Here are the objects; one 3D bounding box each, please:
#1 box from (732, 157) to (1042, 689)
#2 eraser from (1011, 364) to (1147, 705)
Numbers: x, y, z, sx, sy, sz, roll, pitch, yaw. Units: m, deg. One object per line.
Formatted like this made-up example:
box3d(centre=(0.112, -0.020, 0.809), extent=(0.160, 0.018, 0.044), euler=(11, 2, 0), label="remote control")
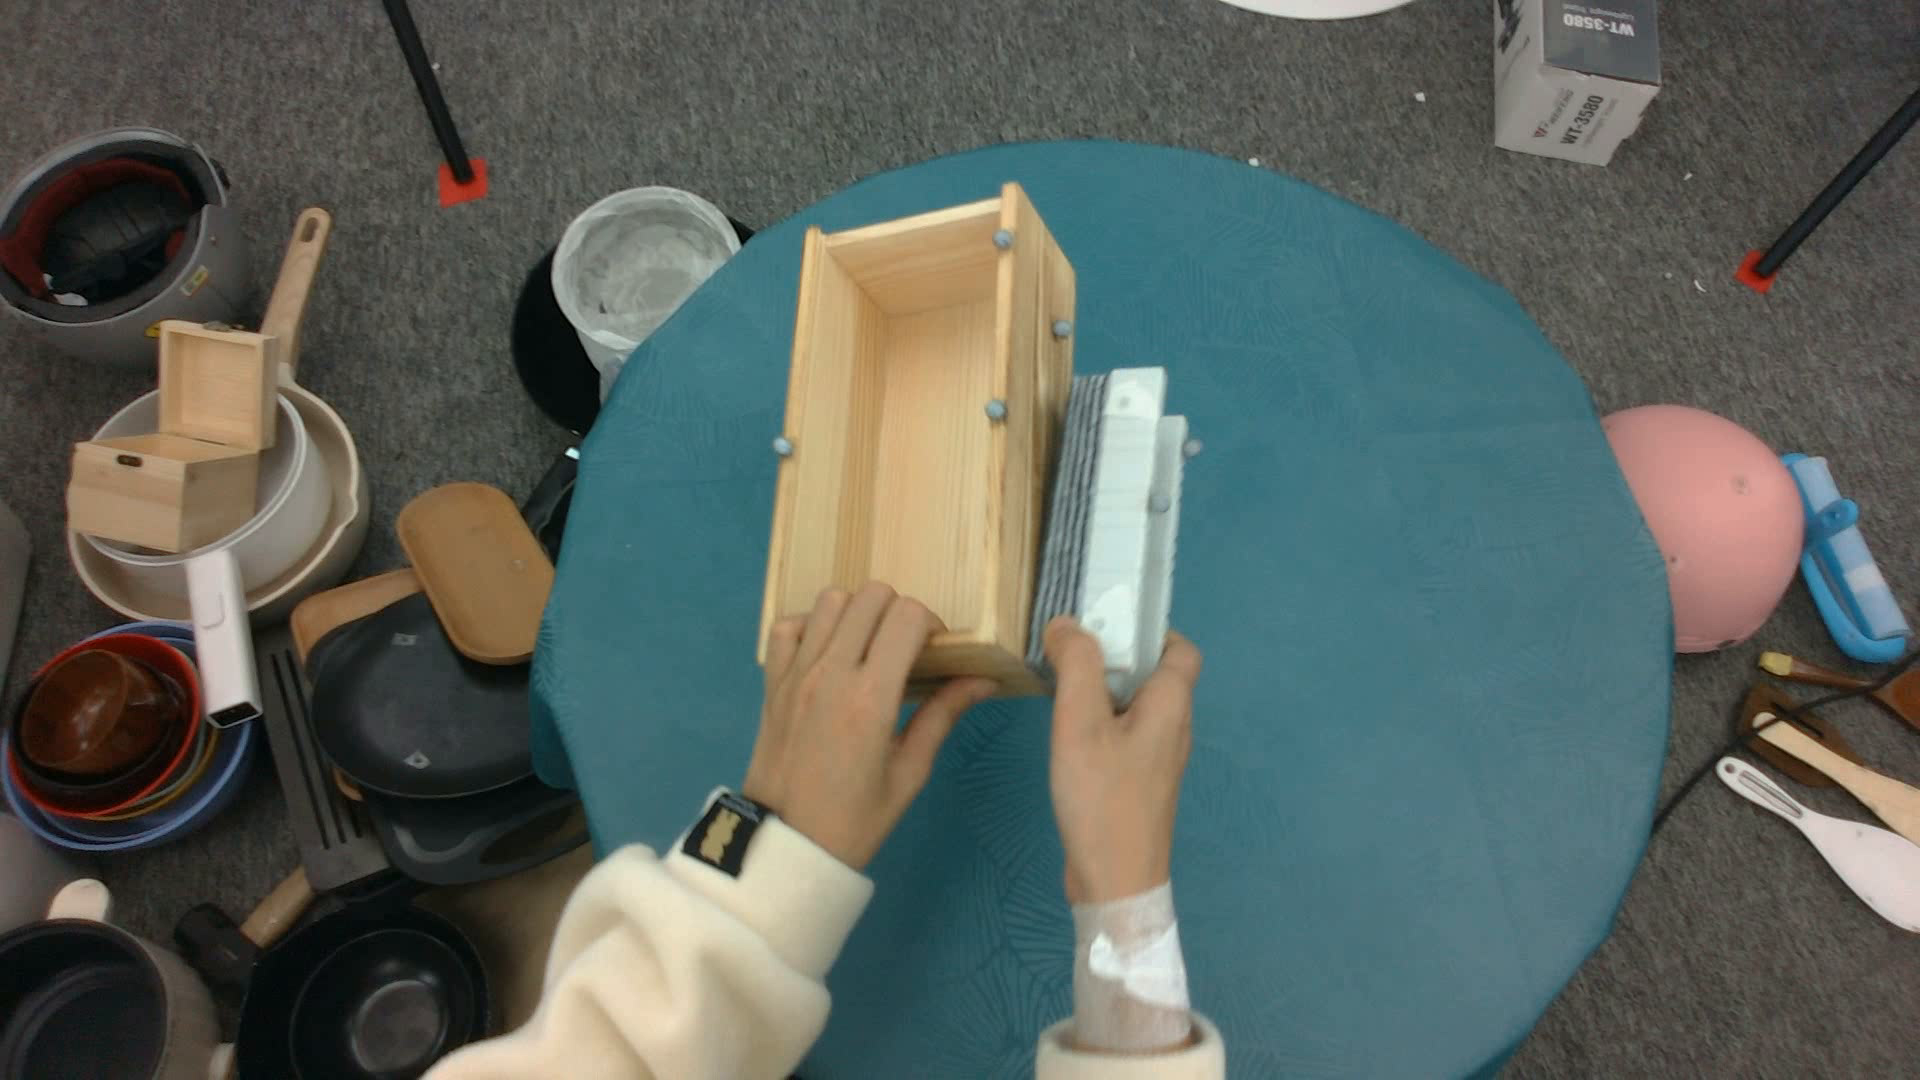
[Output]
box3d(centre=(-0.027, -0.049, 0.610), extent=(0.107, 0.080, 0.212), euler=(-8, 66, 22), label="box")
box3d(centre=(0.051, -0.002, 0.576), extent=(0.046, 0.049, 0.135), euler=(-5, 65, 18), label="eraser")
